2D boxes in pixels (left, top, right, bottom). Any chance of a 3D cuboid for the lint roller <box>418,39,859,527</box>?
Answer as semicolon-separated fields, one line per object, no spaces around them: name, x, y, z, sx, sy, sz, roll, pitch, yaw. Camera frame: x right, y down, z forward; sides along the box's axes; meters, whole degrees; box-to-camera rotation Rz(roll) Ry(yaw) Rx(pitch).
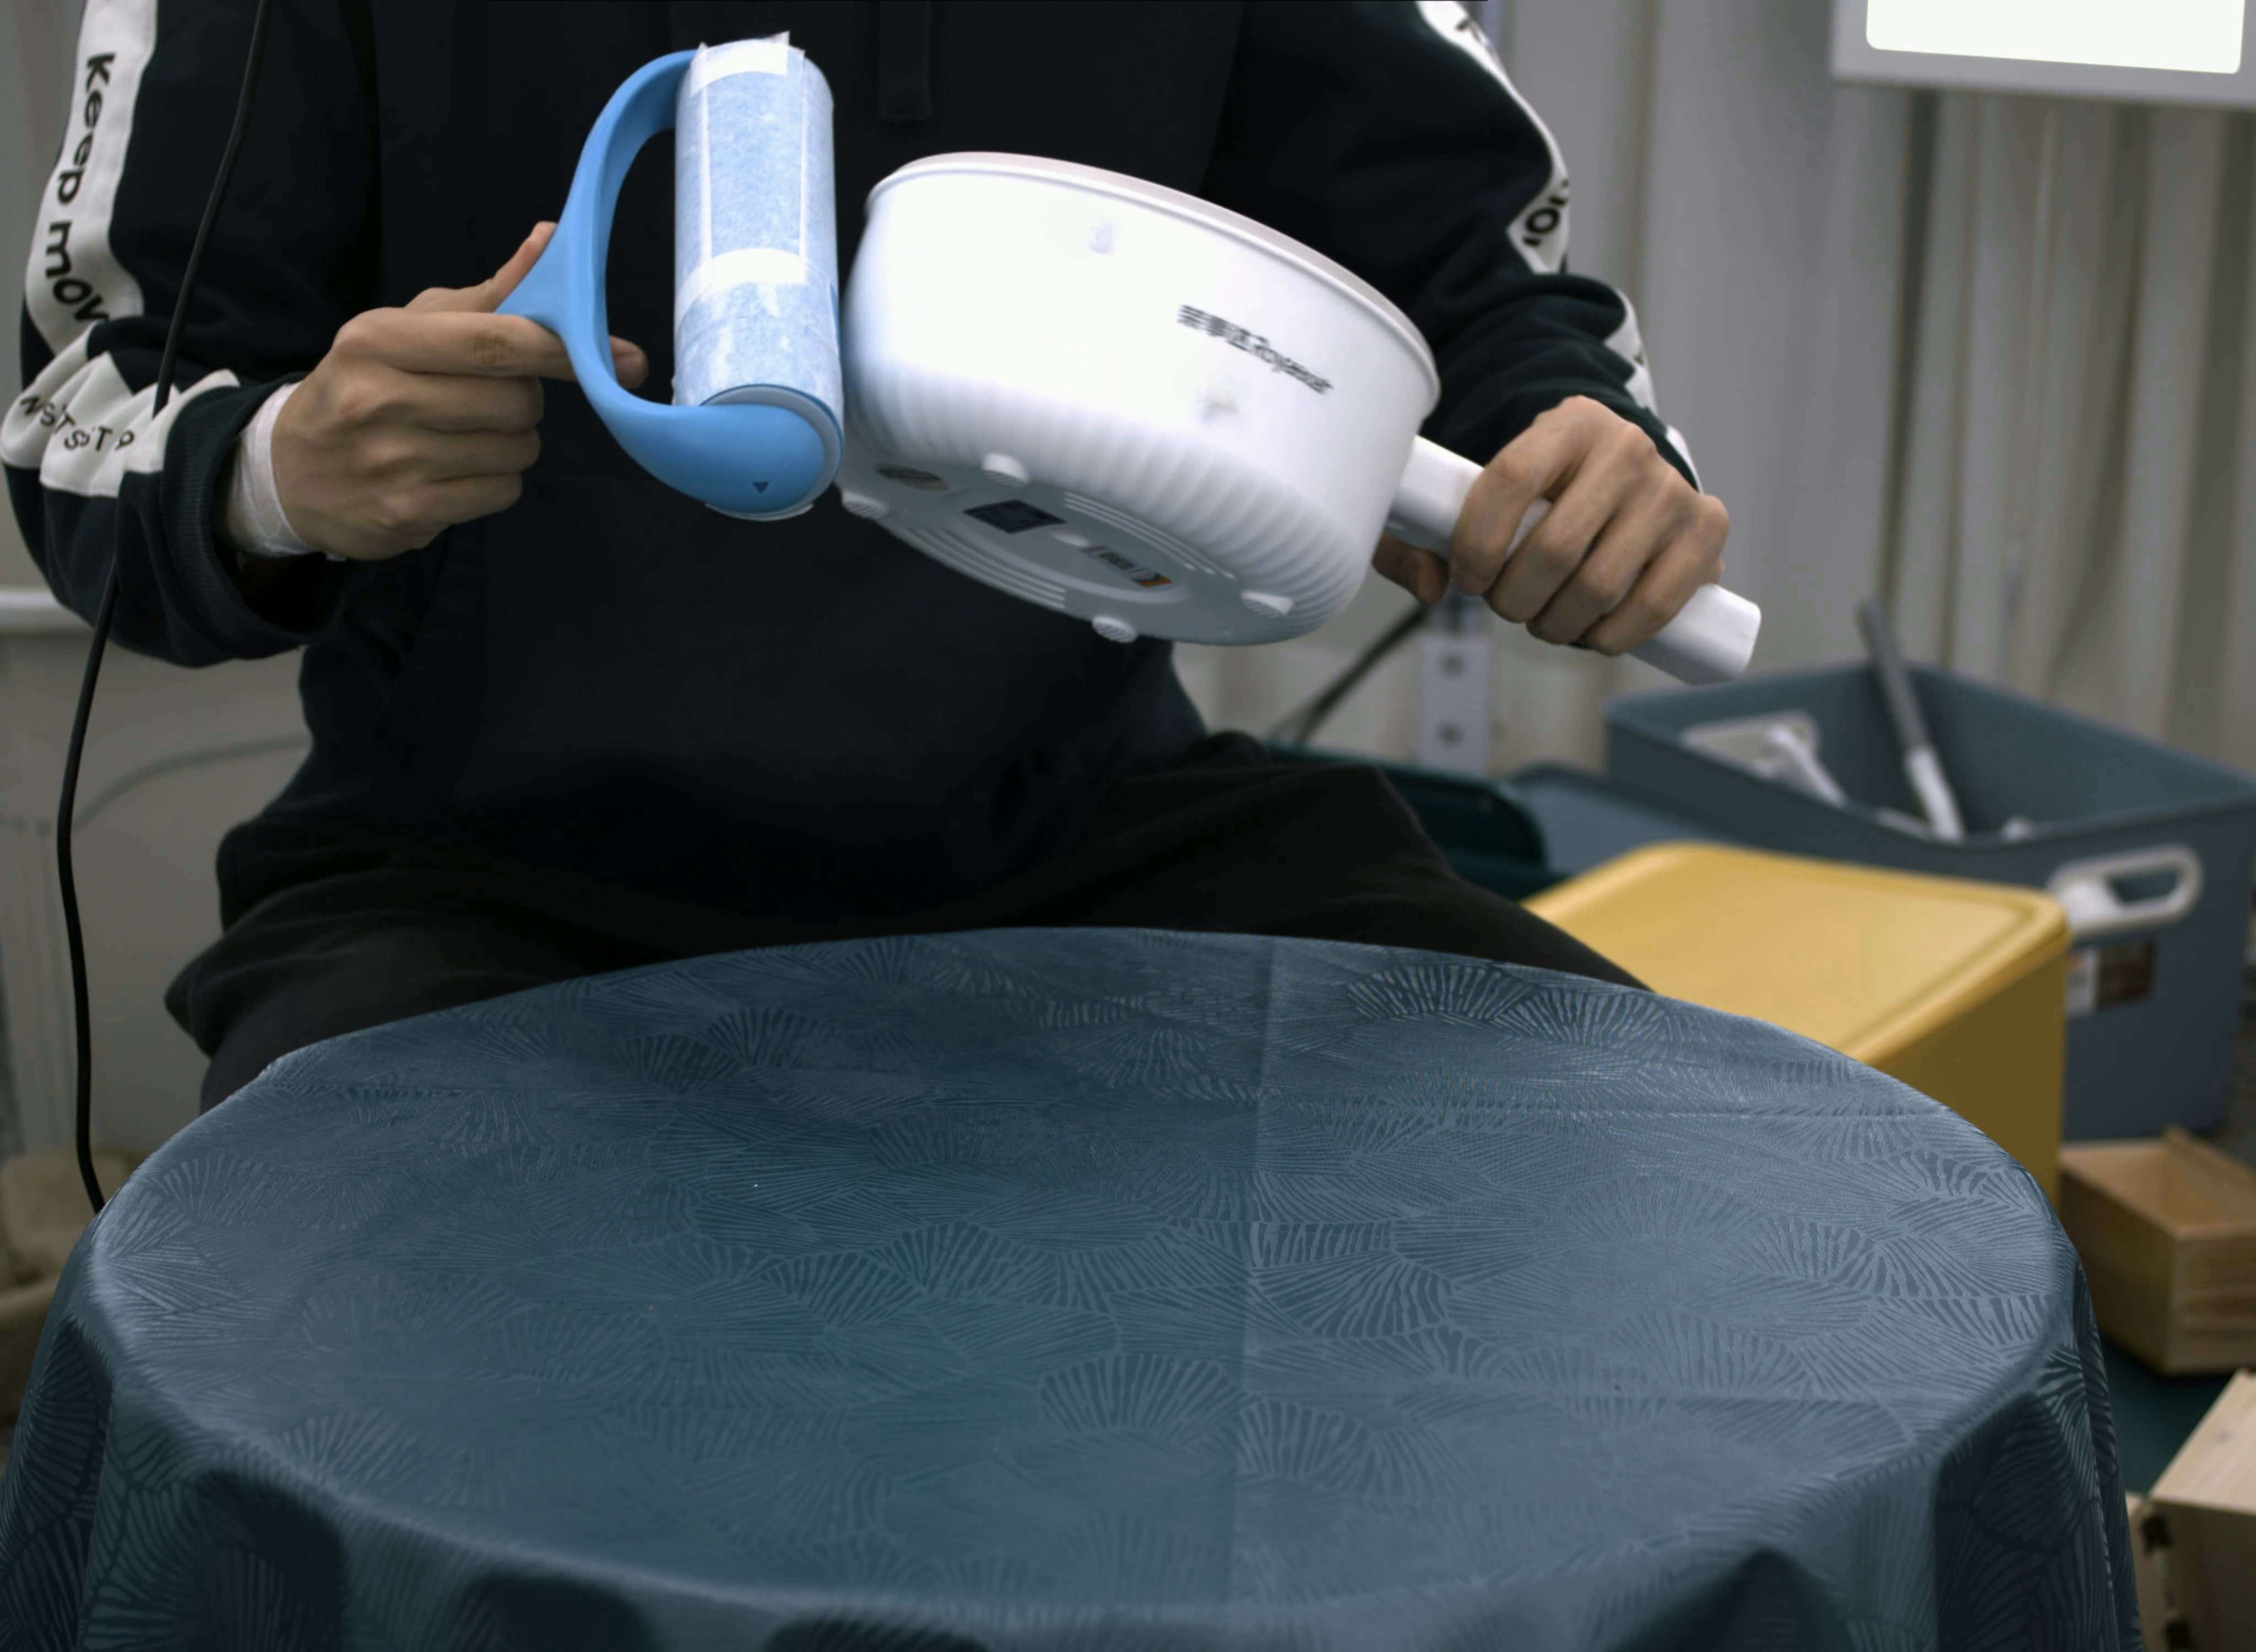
lint roller;-0.171;-0.158;1.724;0.179;0.069;0.226;-25;41;13

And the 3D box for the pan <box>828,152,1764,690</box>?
pan;0.056;-0.102;1.779;0.358;0.102;0.199;26;-16;-25
